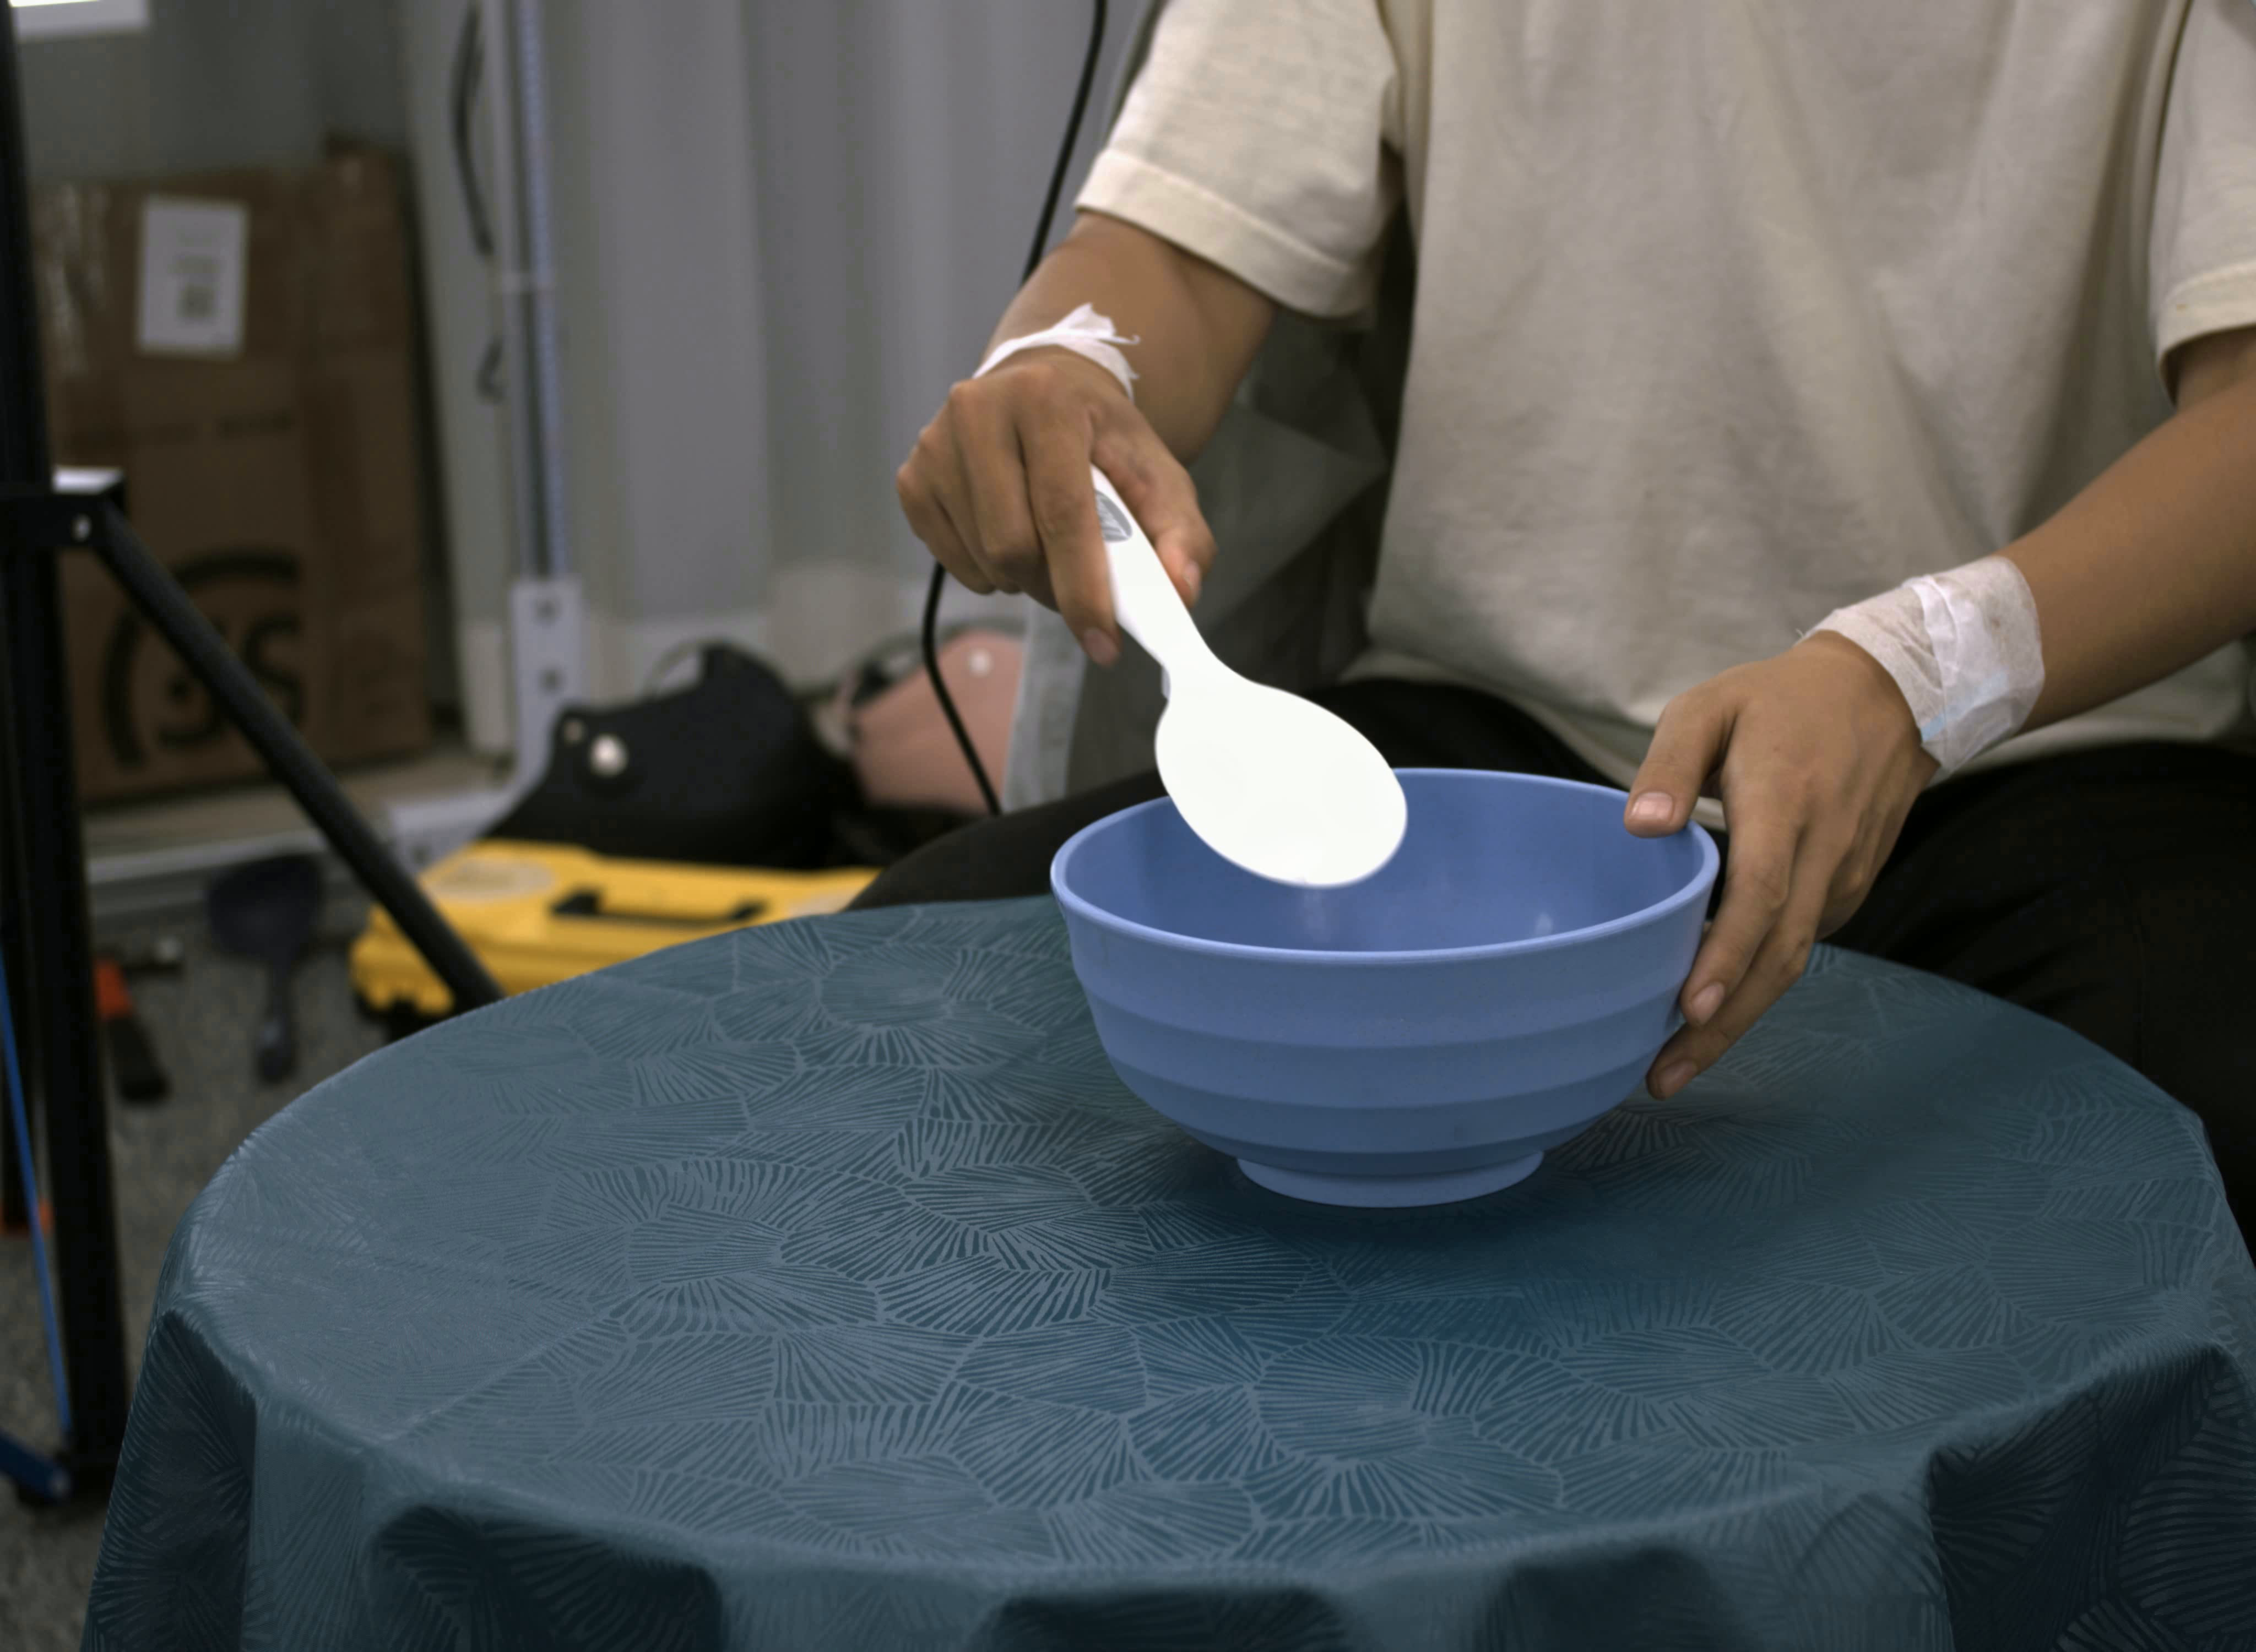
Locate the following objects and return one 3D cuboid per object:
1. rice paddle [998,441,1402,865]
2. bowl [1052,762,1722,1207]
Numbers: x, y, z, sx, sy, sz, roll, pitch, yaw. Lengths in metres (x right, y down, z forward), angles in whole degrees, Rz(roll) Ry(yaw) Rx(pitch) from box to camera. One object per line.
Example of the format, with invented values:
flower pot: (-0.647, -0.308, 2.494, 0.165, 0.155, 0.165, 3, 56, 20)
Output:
rice paddle: (0.019, -0.052, 1.629, 0.067, 0.029, 0.210, -17, 42, -20)
bowl: (0.078, 0.052, 1.563, 0.195, 0.095, 0.197, -4, 16, 0)
